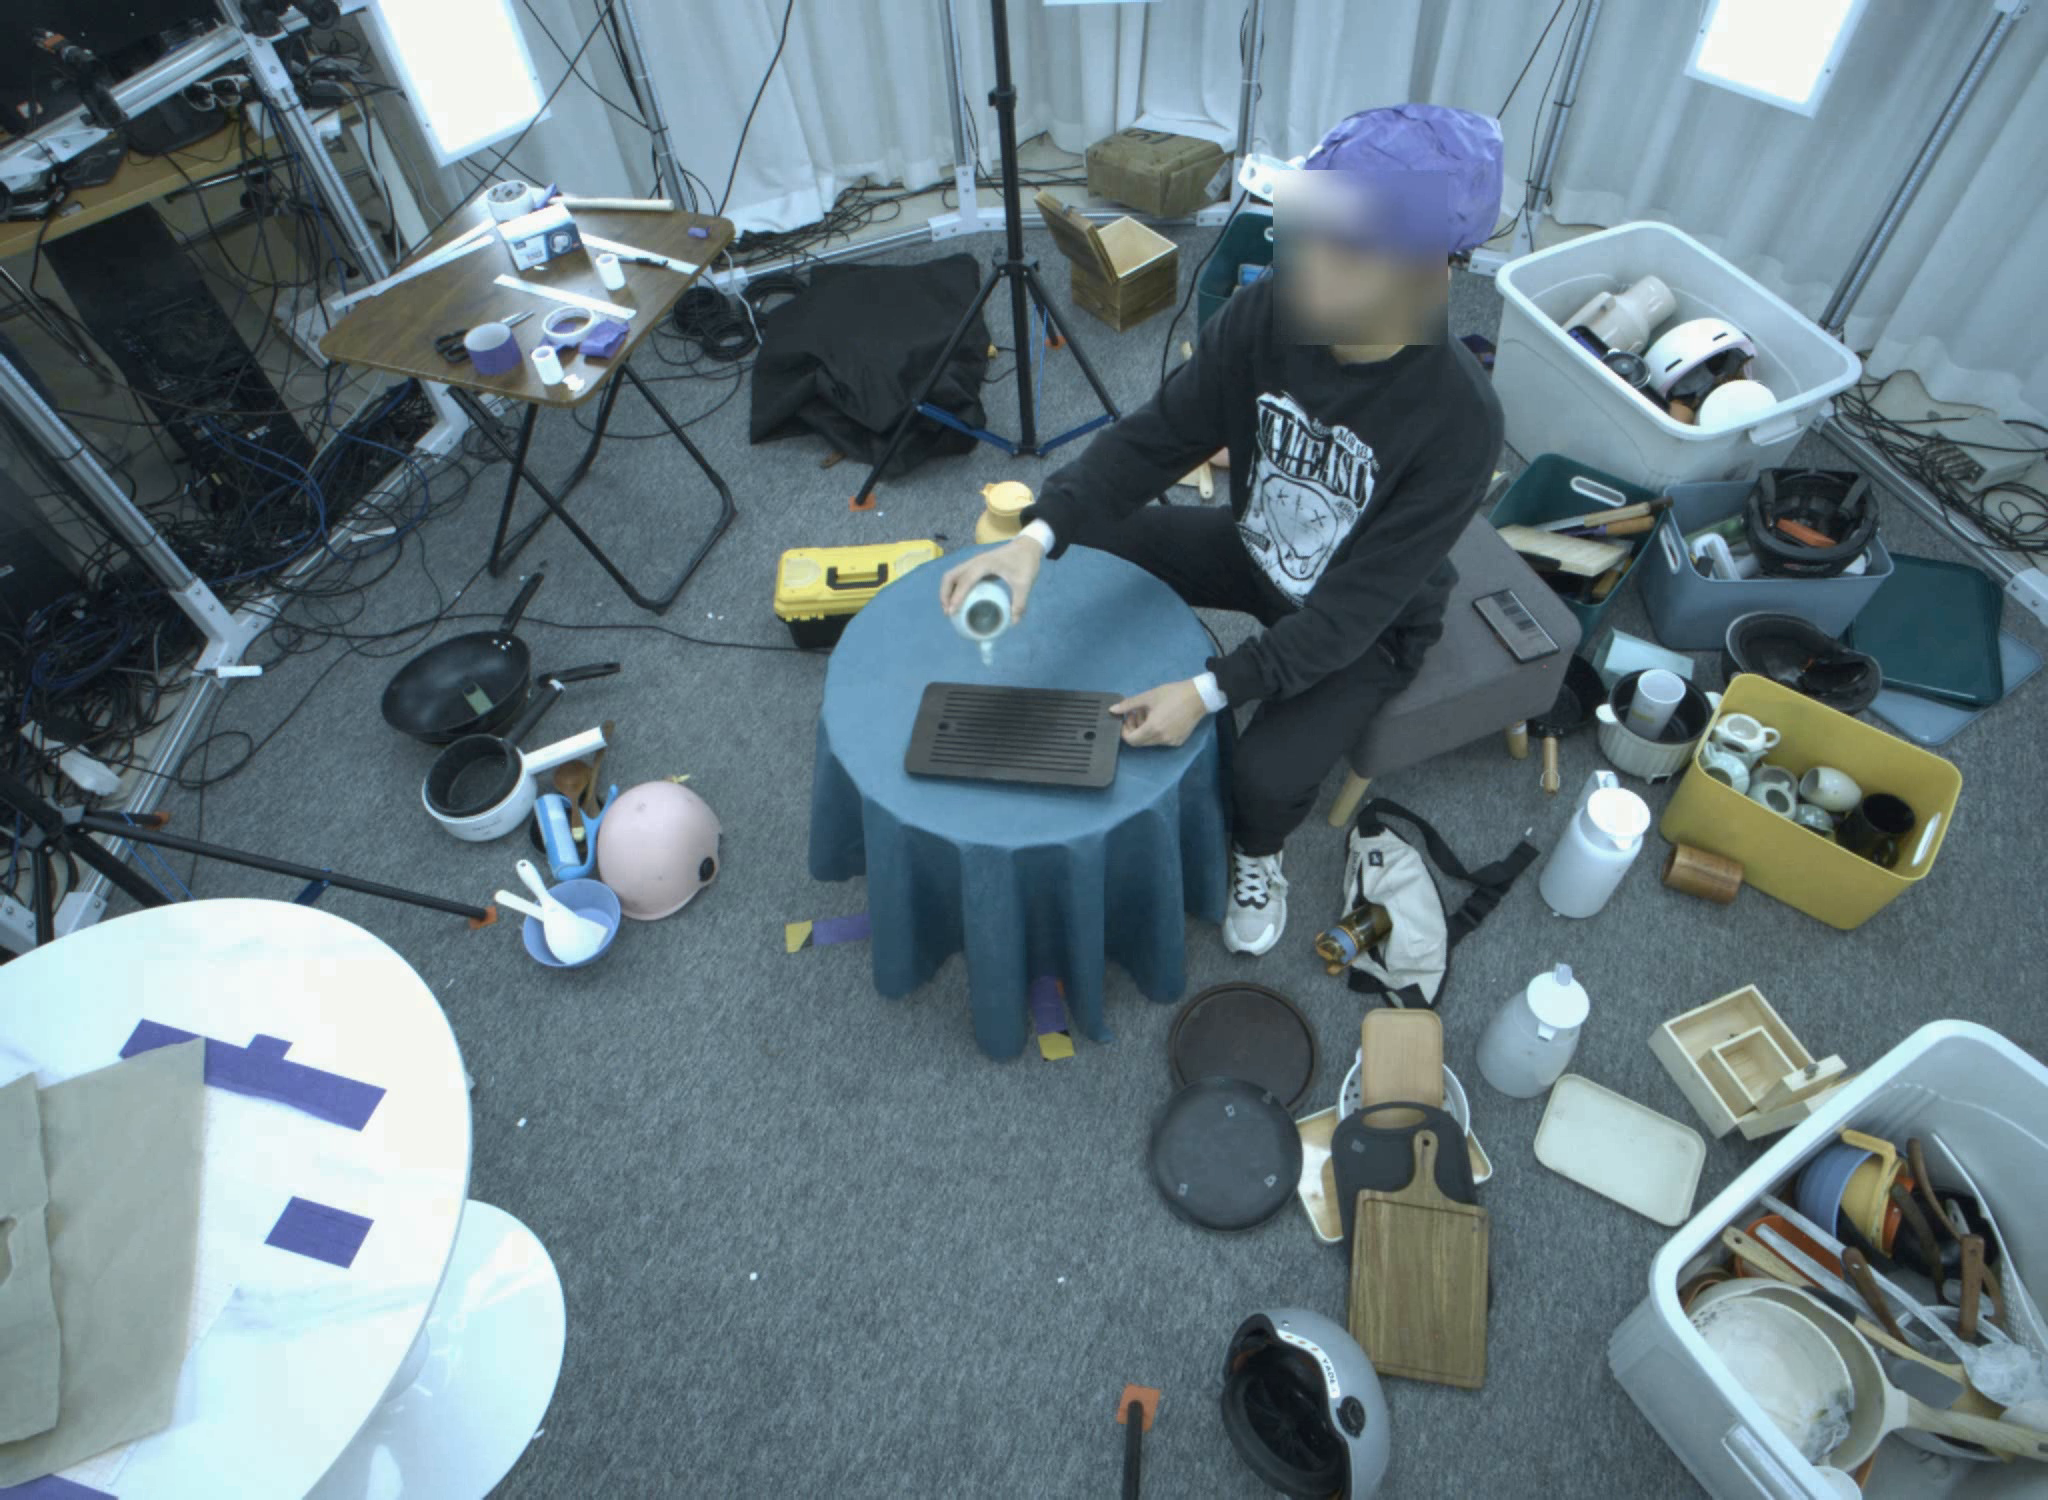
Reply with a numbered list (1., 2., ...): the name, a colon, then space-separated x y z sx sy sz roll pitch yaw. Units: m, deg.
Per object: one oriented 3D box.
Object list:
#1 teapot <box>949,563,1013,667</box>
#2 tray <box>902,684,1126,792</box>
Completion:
1. teapot: -0.060 -0.193 1.696 0.089 0.145 0.073 -7 29 -10
2. tray: -0.012 -0.018 1.777 0.304 0.019 0.169 5 54 8
